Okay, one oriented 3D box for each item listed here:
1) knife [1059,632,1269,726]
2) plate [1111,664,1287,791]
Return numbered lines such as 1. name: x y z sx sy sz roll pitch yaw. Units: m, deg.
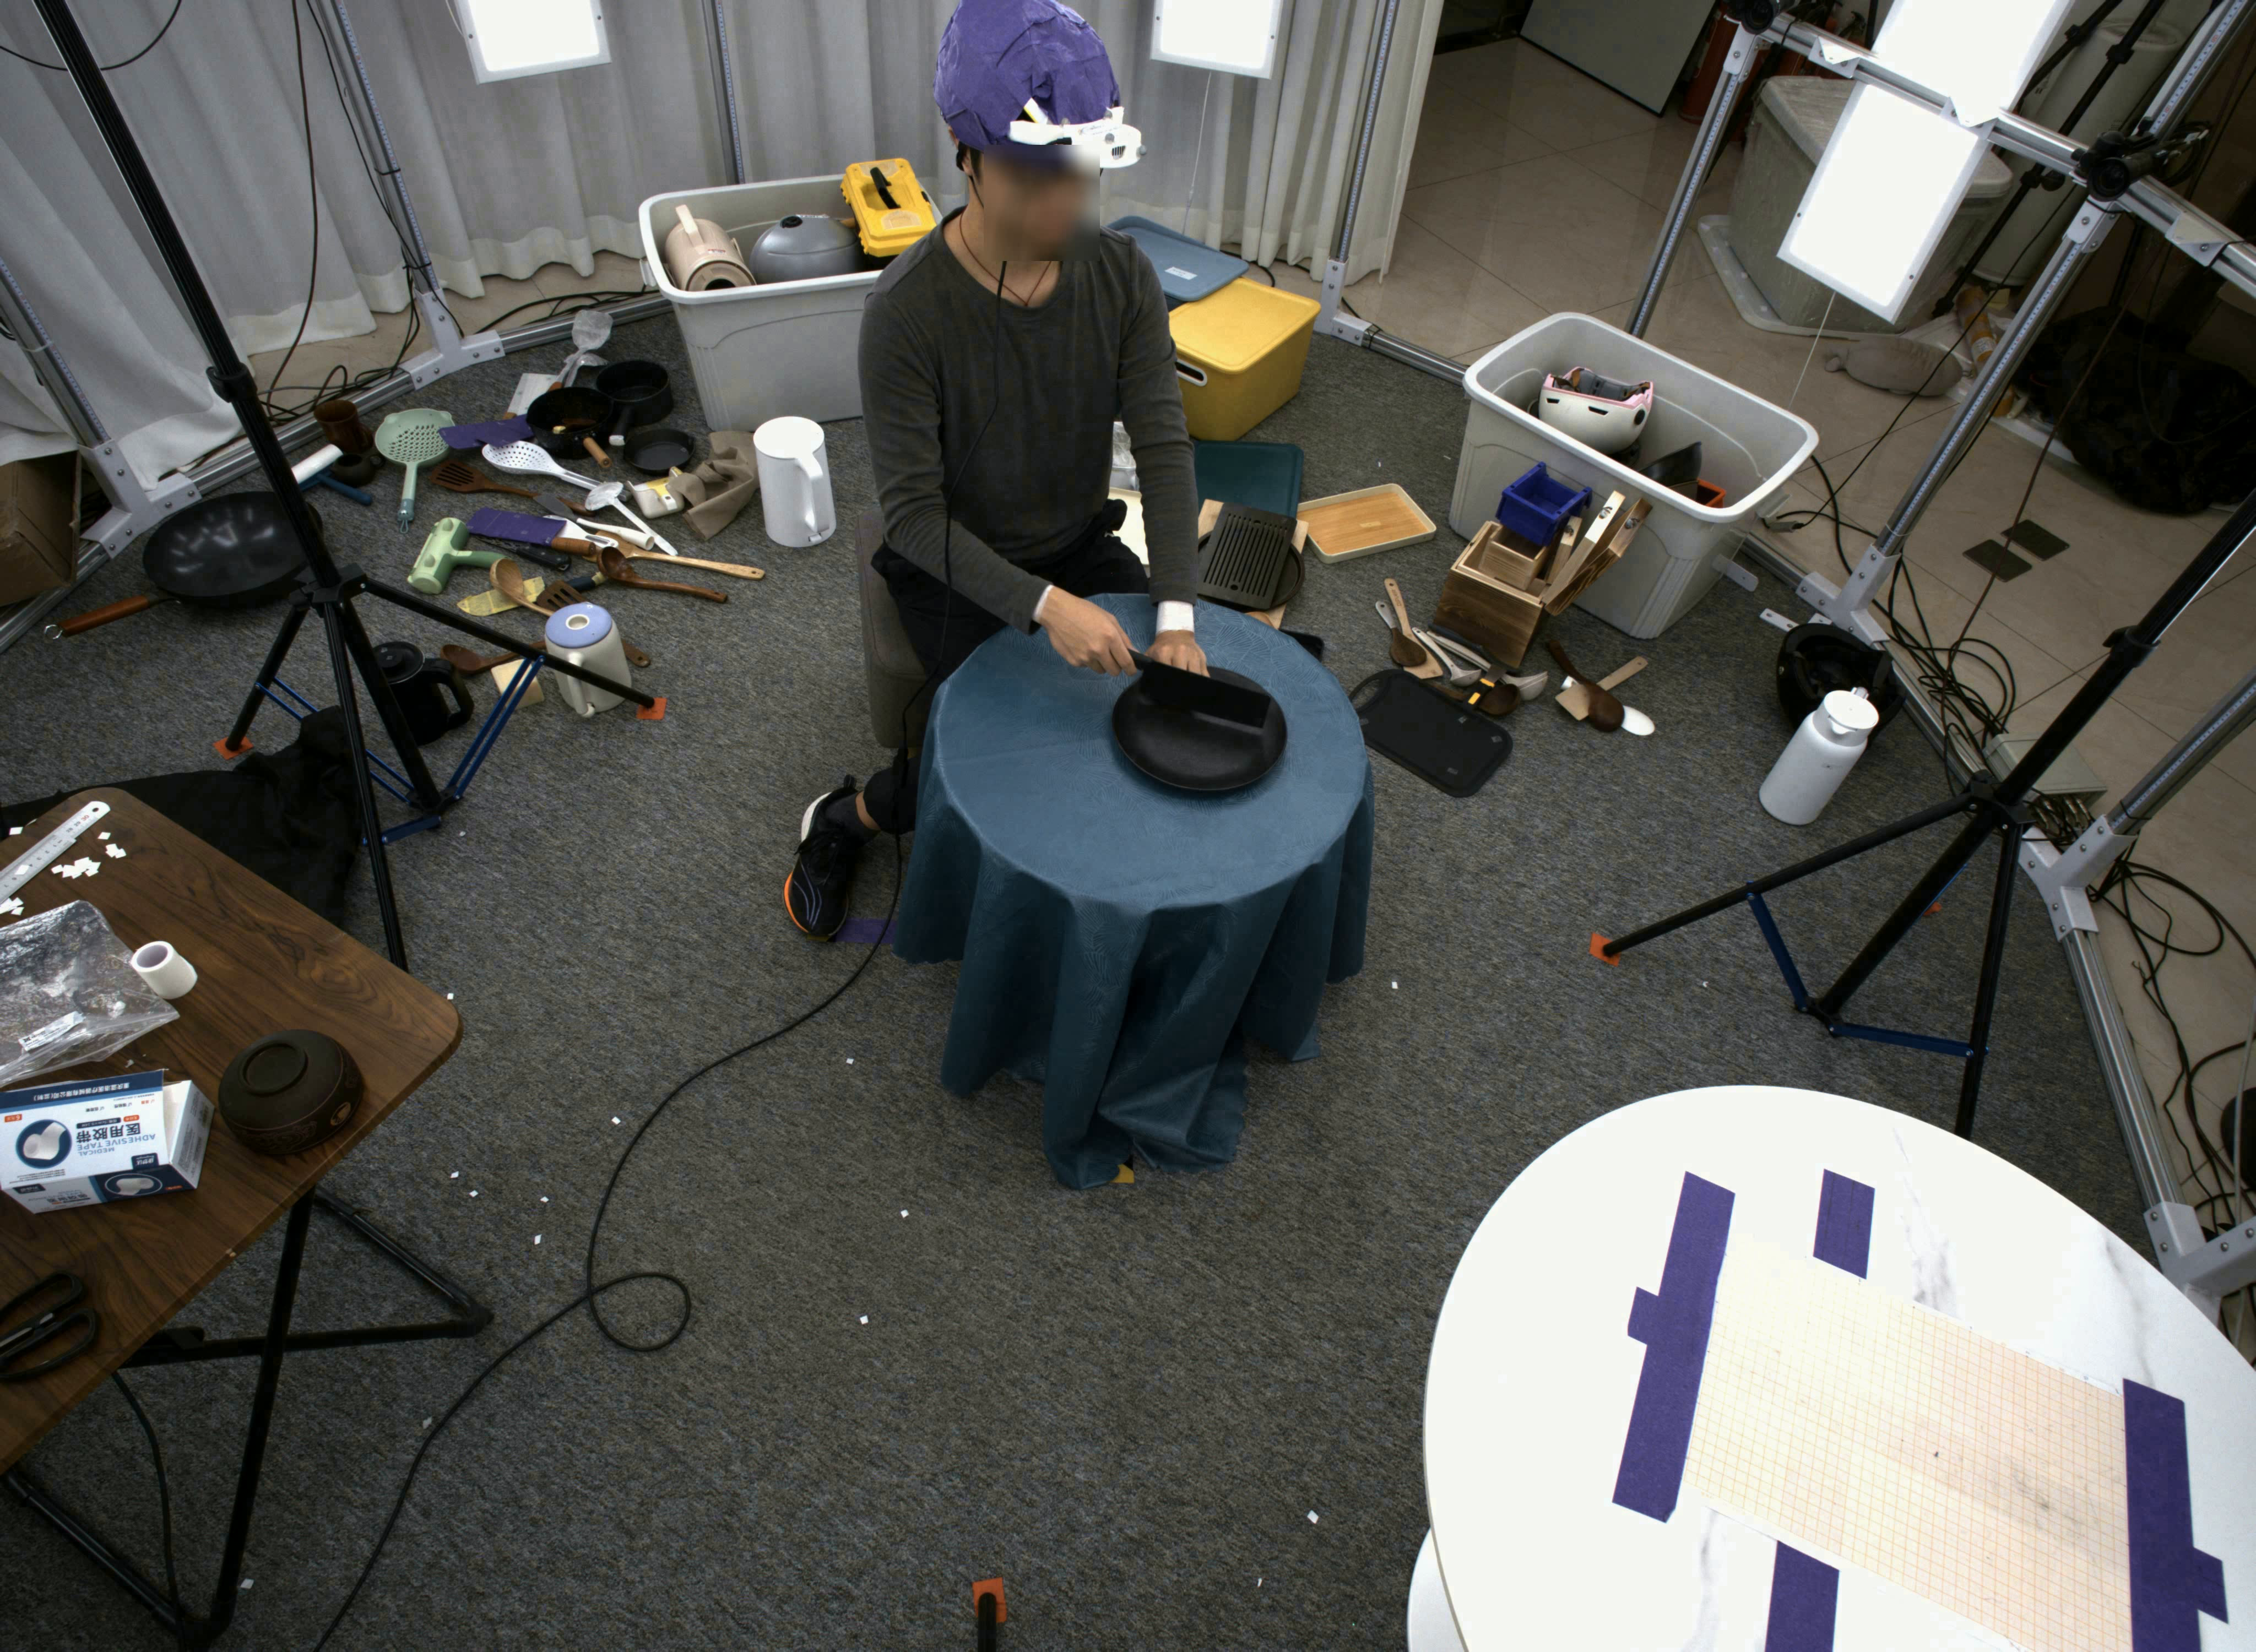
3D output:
1. knife: 0.048 -0.205 1.772 0.303 0.079 0.021 21 47 6
2. plate: 0.098 -0.134 1.775 0.244 0.023 0.250 2 49 -2
